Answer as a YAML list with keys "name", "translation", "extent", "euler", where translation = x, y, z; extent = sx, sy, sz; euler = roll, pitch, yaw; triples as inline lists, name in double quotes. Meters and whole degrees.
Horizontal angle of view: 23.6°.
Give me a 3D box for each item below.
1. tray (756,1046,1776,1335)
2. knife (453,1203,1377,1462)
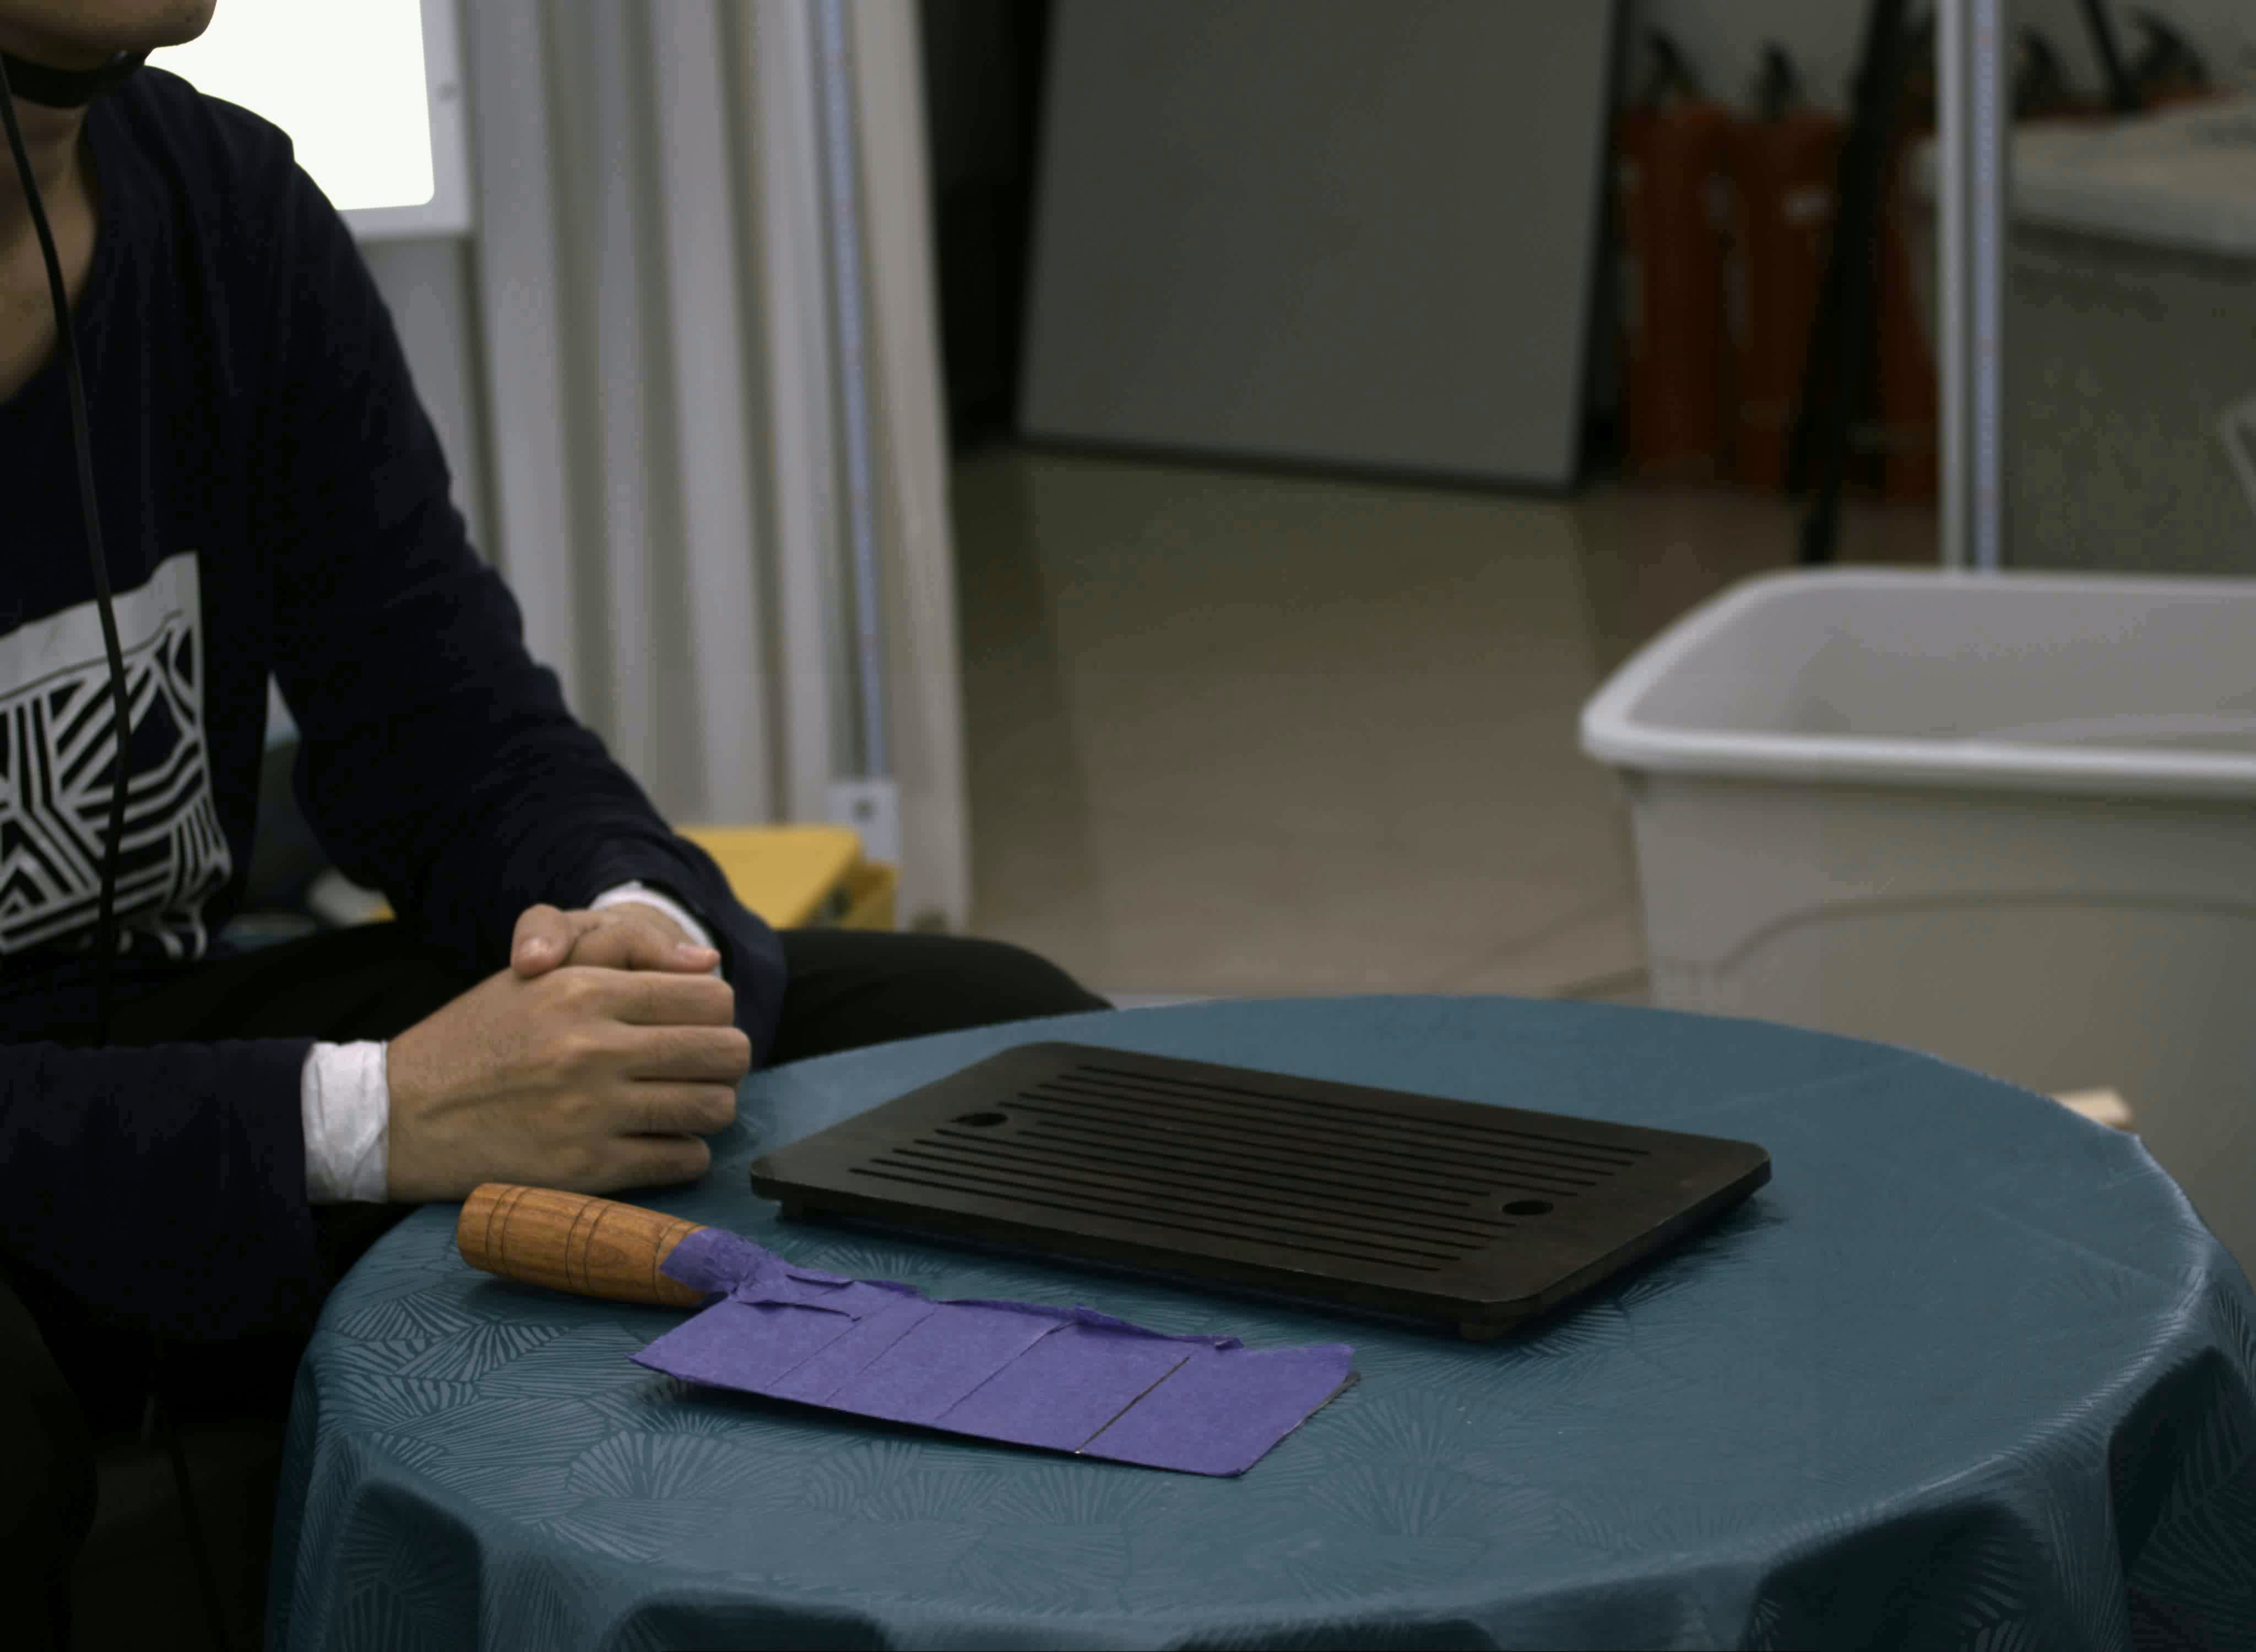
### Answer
- name: "tray"
  translation: [0.043, 0.116, 1.747]
  extent: [0.308, 0.019, 0.167]
  euler: [6, 17, 37]
- name: "knife"
  translation: [-0.084, 0.151, 1.620]
  extent: [0.316, 0.032, 0.102]
  euler: [4, 15, 29]
